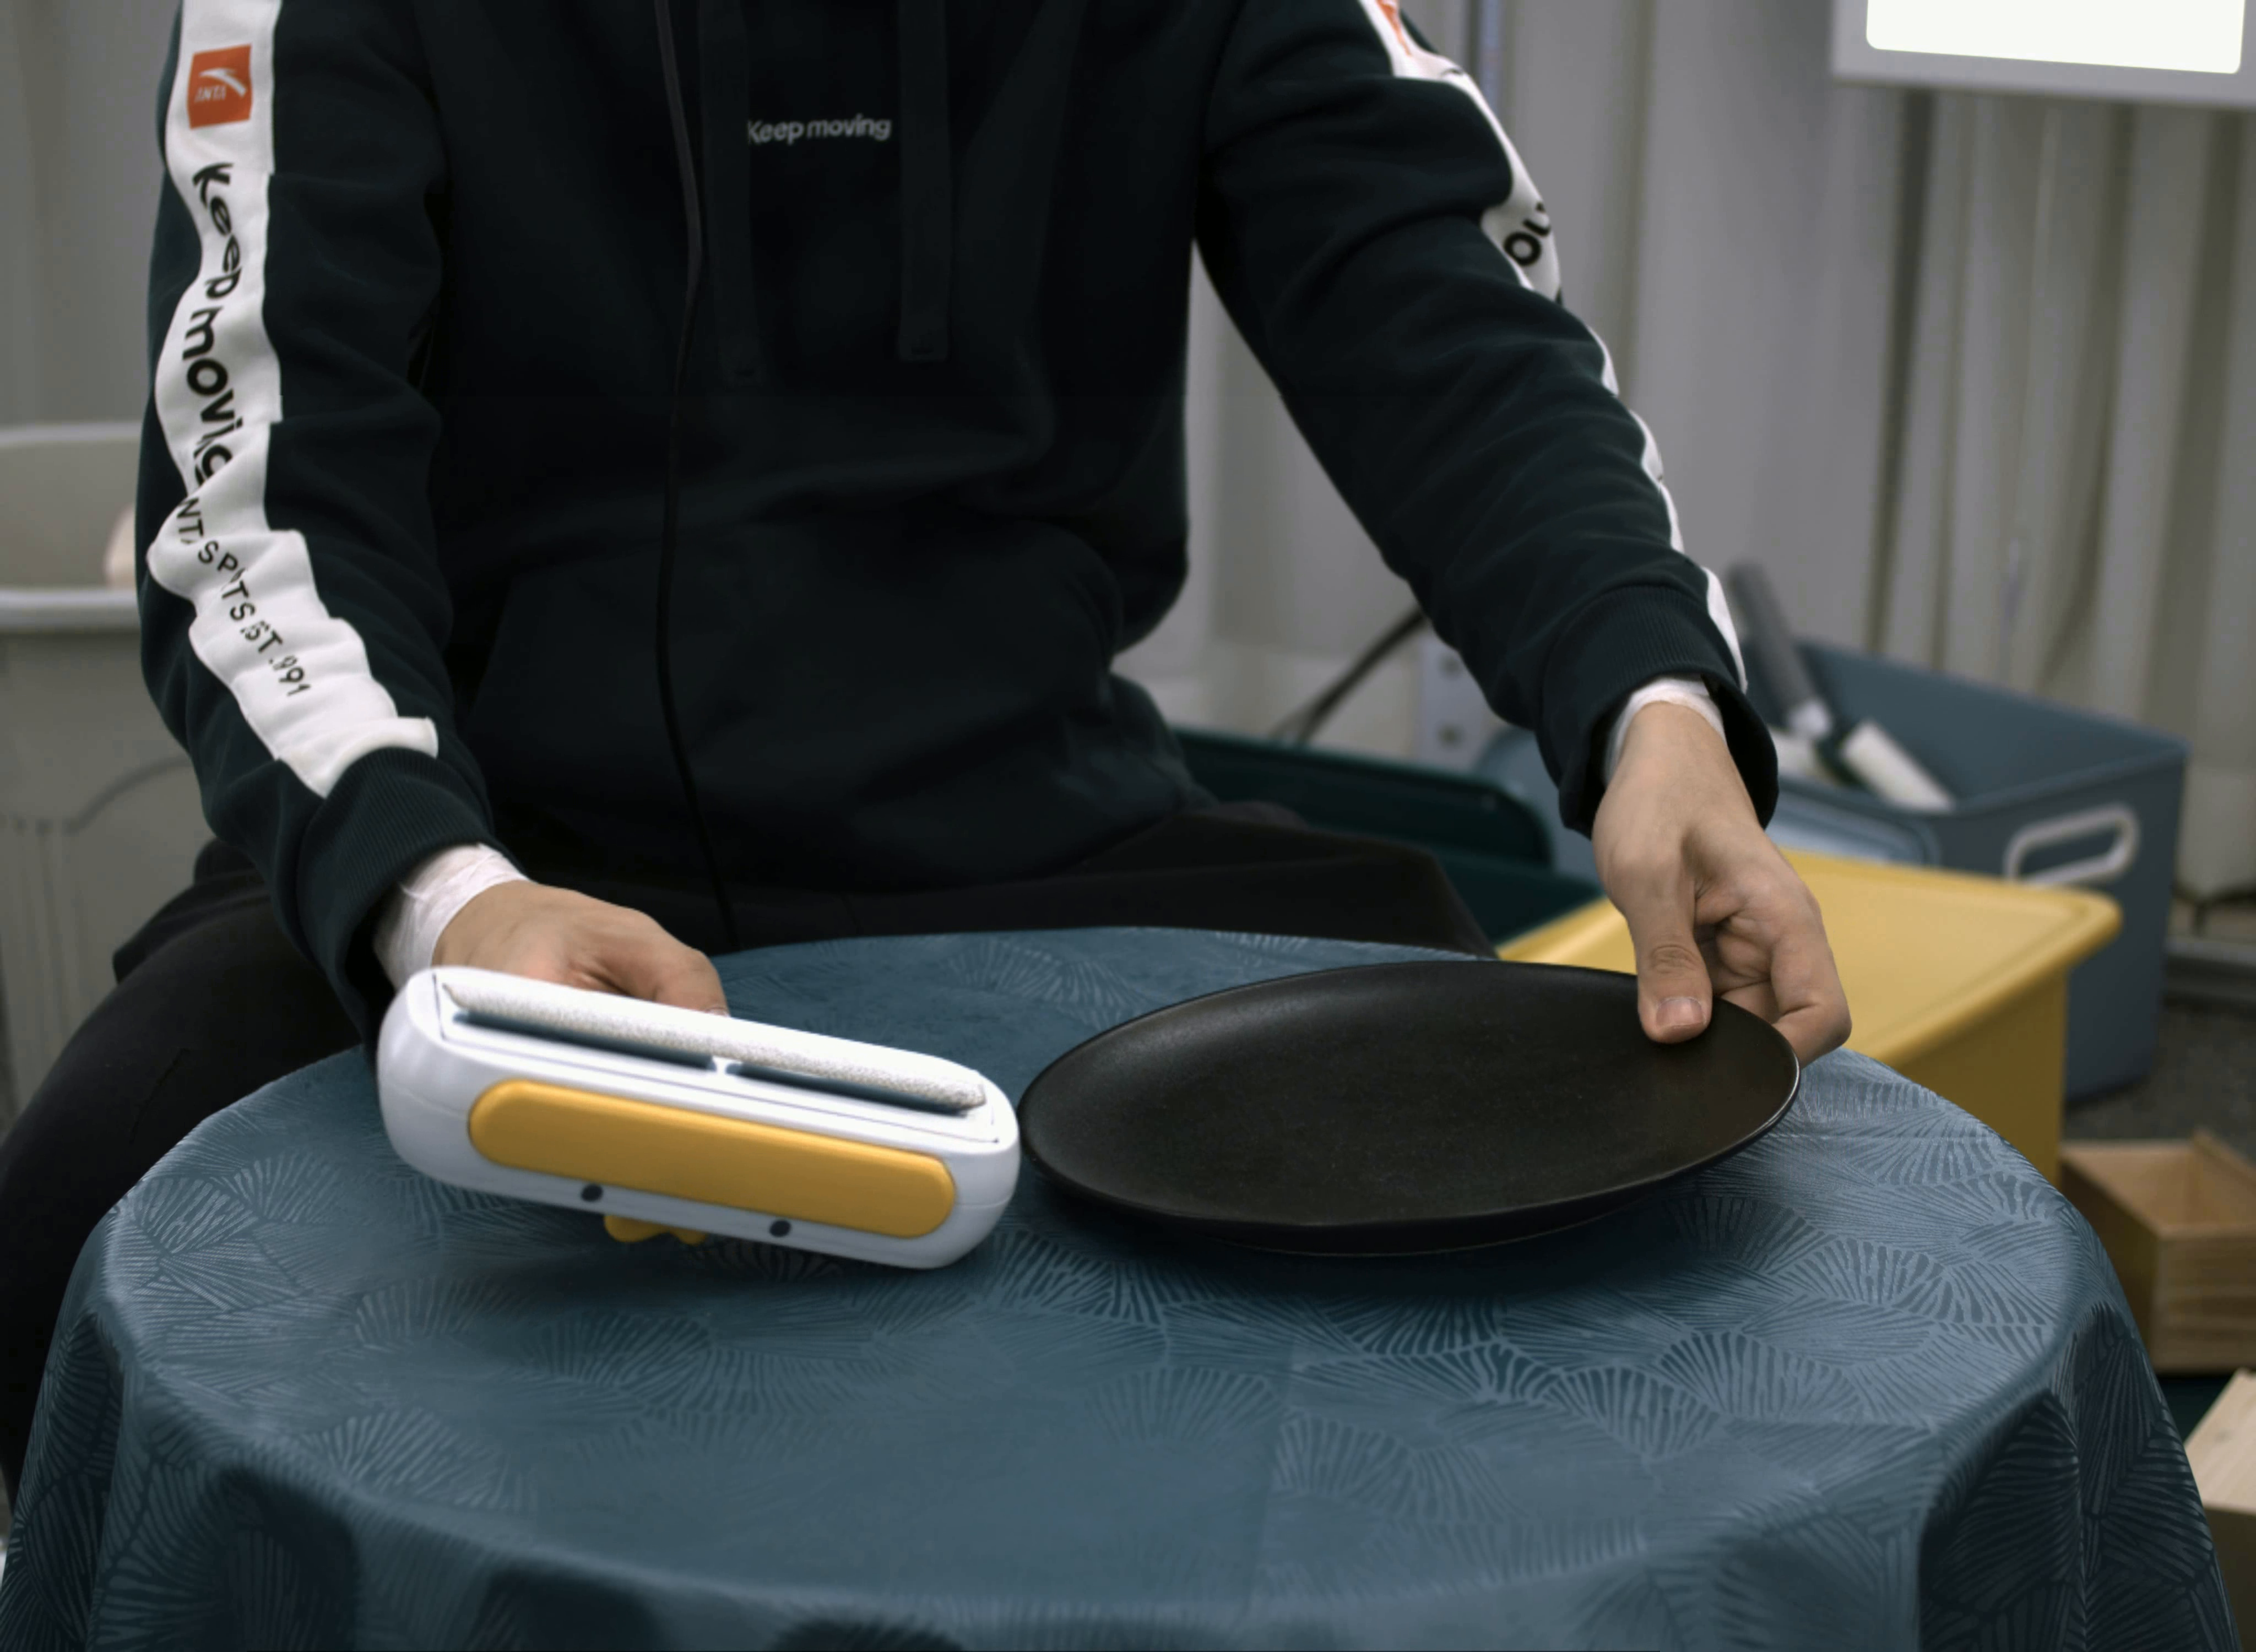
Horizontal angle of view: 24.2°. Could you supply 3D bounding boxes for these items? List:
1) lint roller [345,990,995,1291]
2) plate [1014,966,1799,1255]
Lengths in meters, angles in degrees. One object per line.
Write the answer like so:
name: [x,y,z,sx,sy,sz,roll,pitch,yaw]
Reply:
lint roller: [-0.144,0.094,1.596,0.193,0.074,0.191,9,2,-11]
plate: [0.086,0.090,1.631,0.243,0.023,0.243,-5,16,2]
